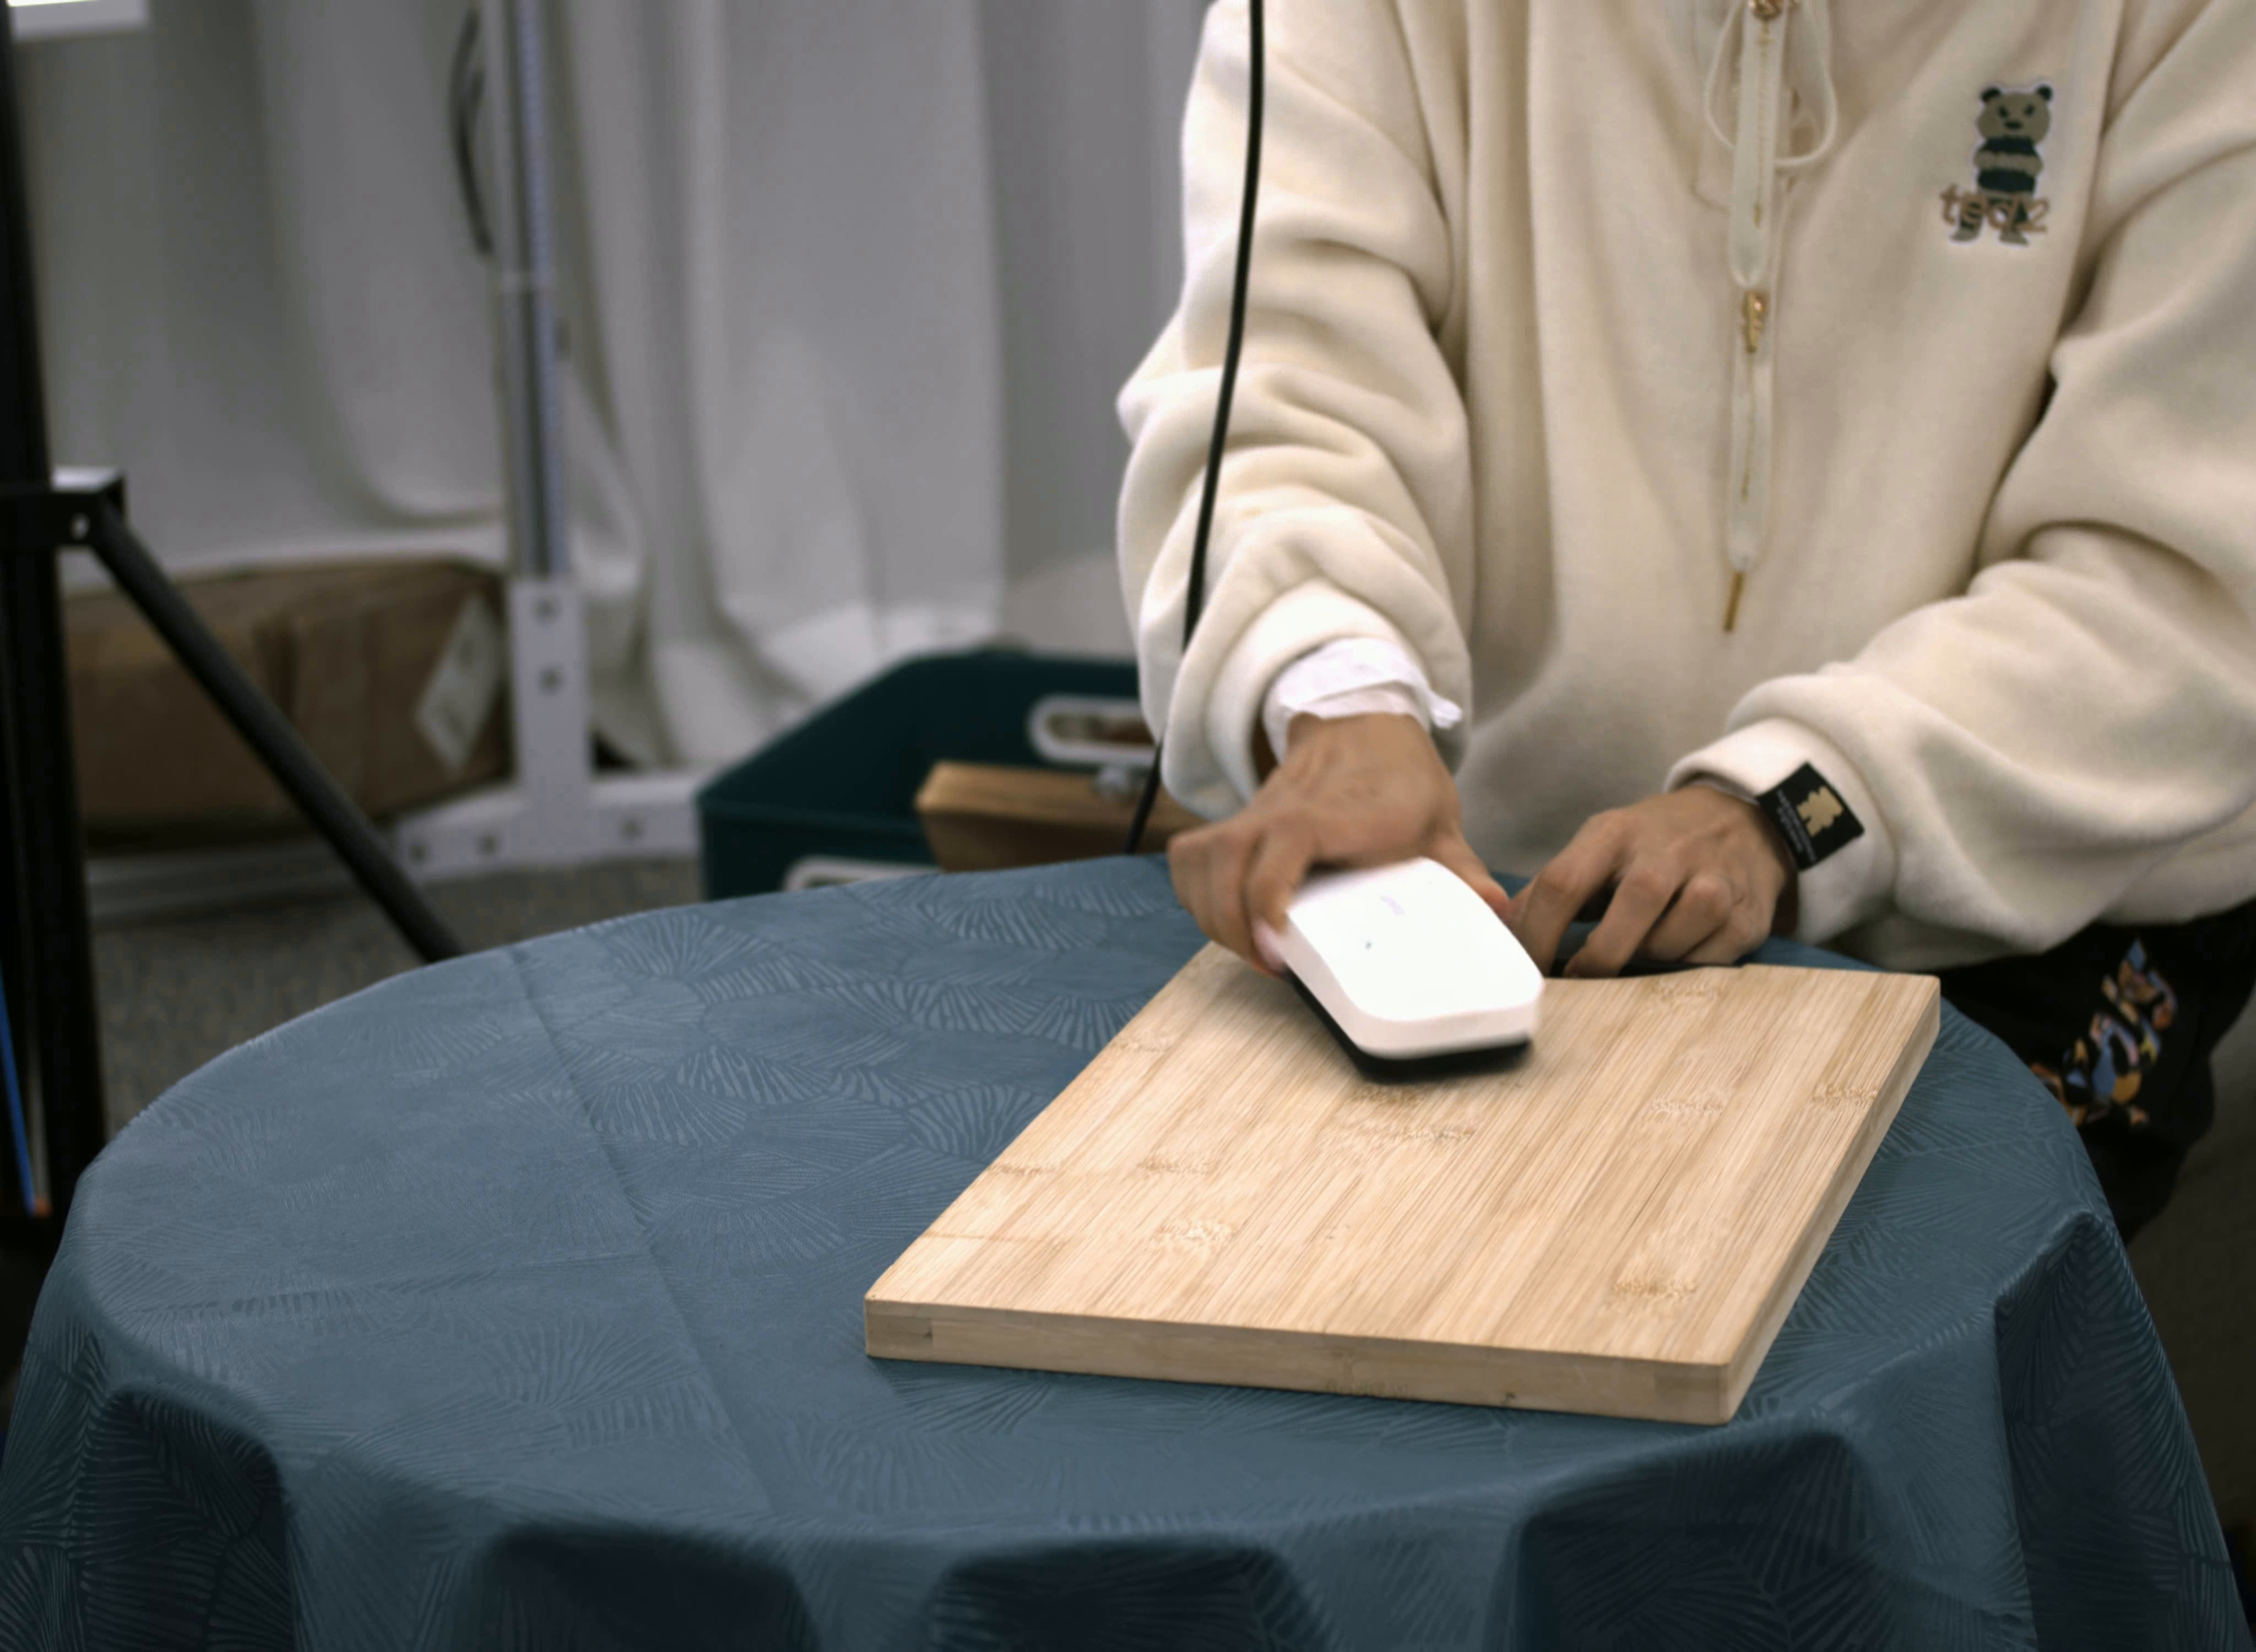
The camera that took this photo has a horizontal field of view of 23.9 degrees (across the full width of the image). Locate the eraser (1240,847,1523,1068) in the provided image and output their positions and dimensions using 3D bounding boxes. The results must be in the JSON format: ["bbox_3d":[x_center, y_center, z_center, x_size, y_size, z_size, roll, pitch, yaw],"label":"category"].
[{"bbox_3d":[0.079,0.036,1.645,0.062,0.034,0.133,-7,20,-11],"label":"eraser"}]

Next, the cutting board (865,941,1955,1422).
[{"bbox_3d":[0.094,0.096,1.555,0.253,0.023,0.345,2,16,17],"label":"cutting board"}]
